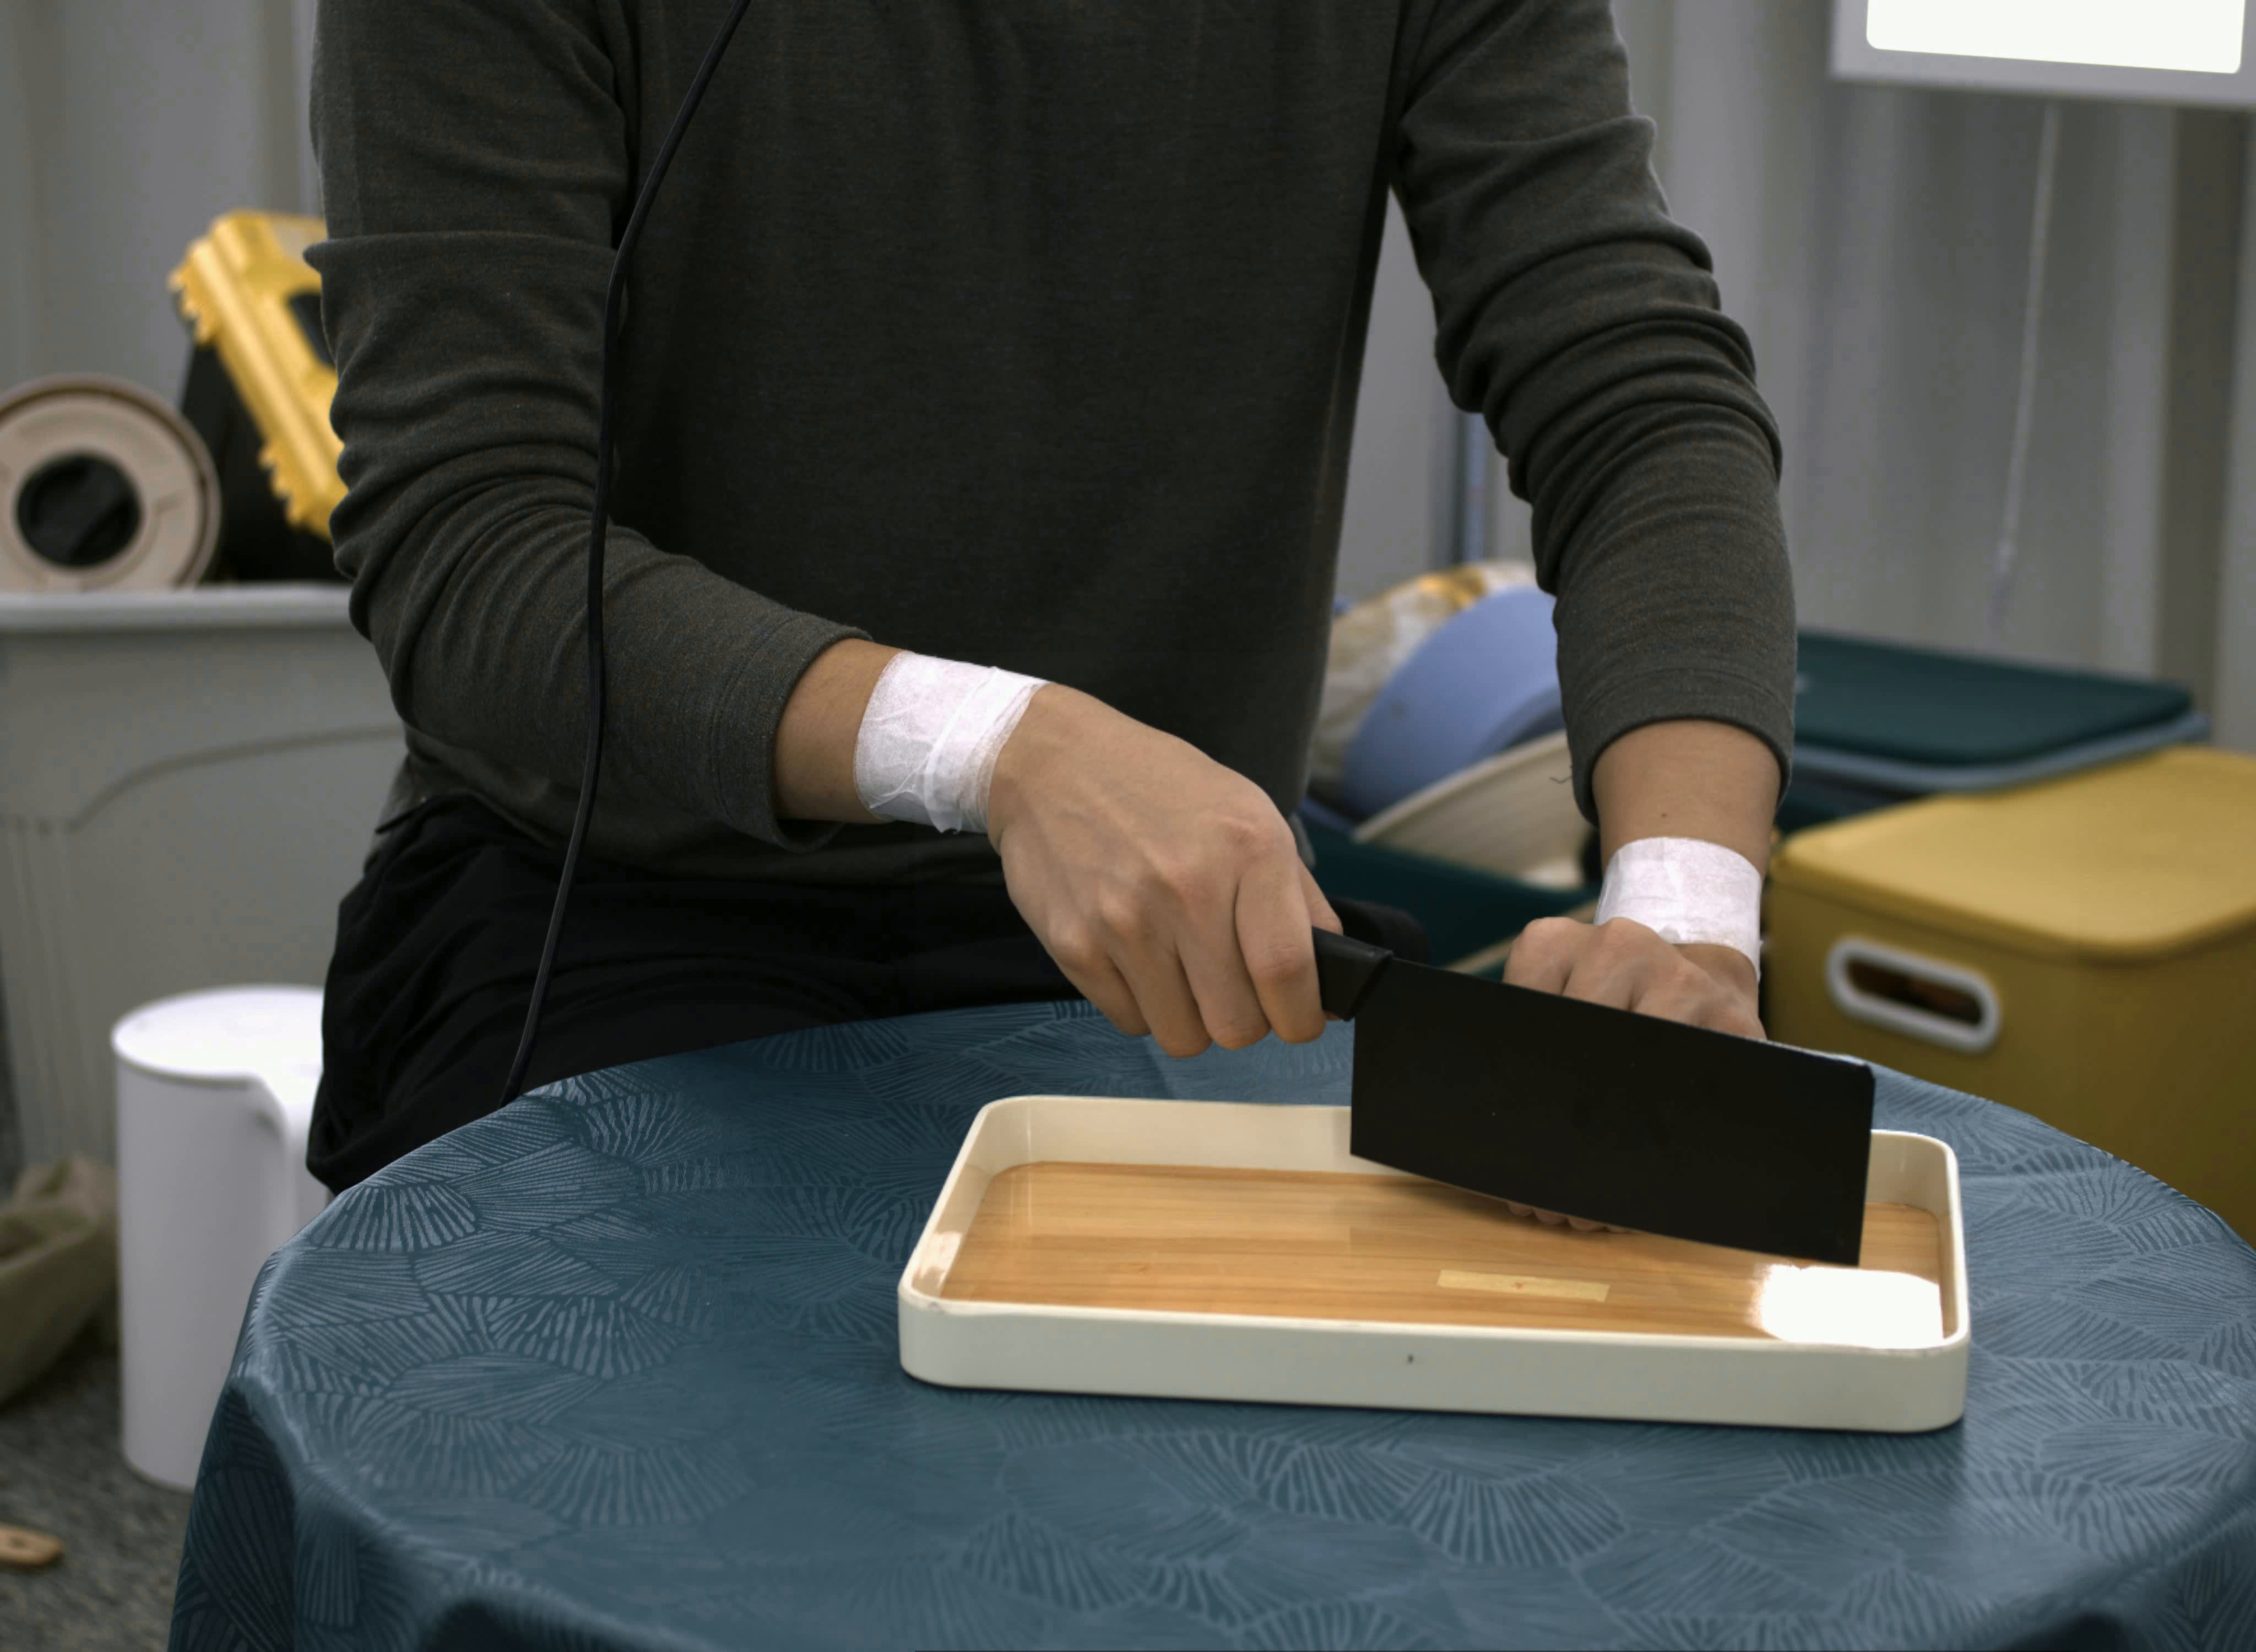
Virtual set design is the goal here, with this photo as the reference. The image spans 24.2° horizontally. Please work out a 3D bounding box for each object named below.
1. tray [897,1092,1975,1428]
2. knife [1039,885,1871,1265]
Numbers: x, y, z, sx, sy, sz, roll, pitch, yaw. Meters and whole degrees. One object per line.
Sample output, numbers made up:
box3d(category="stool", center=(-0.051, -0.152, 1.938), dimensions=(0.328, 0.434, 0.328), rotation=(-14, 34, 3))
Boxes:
box3d(category="tray", center=(0.093, 0.124, 1.534), dimensions=(0.299, 0.027, 0.191), rotation=(2, 16, 6))
box3d(category="knife", center=(0.093, 0.070, 1.585), dimensions=(0.298, 0.081, 0.021), rotation=(18, 19, 34))
